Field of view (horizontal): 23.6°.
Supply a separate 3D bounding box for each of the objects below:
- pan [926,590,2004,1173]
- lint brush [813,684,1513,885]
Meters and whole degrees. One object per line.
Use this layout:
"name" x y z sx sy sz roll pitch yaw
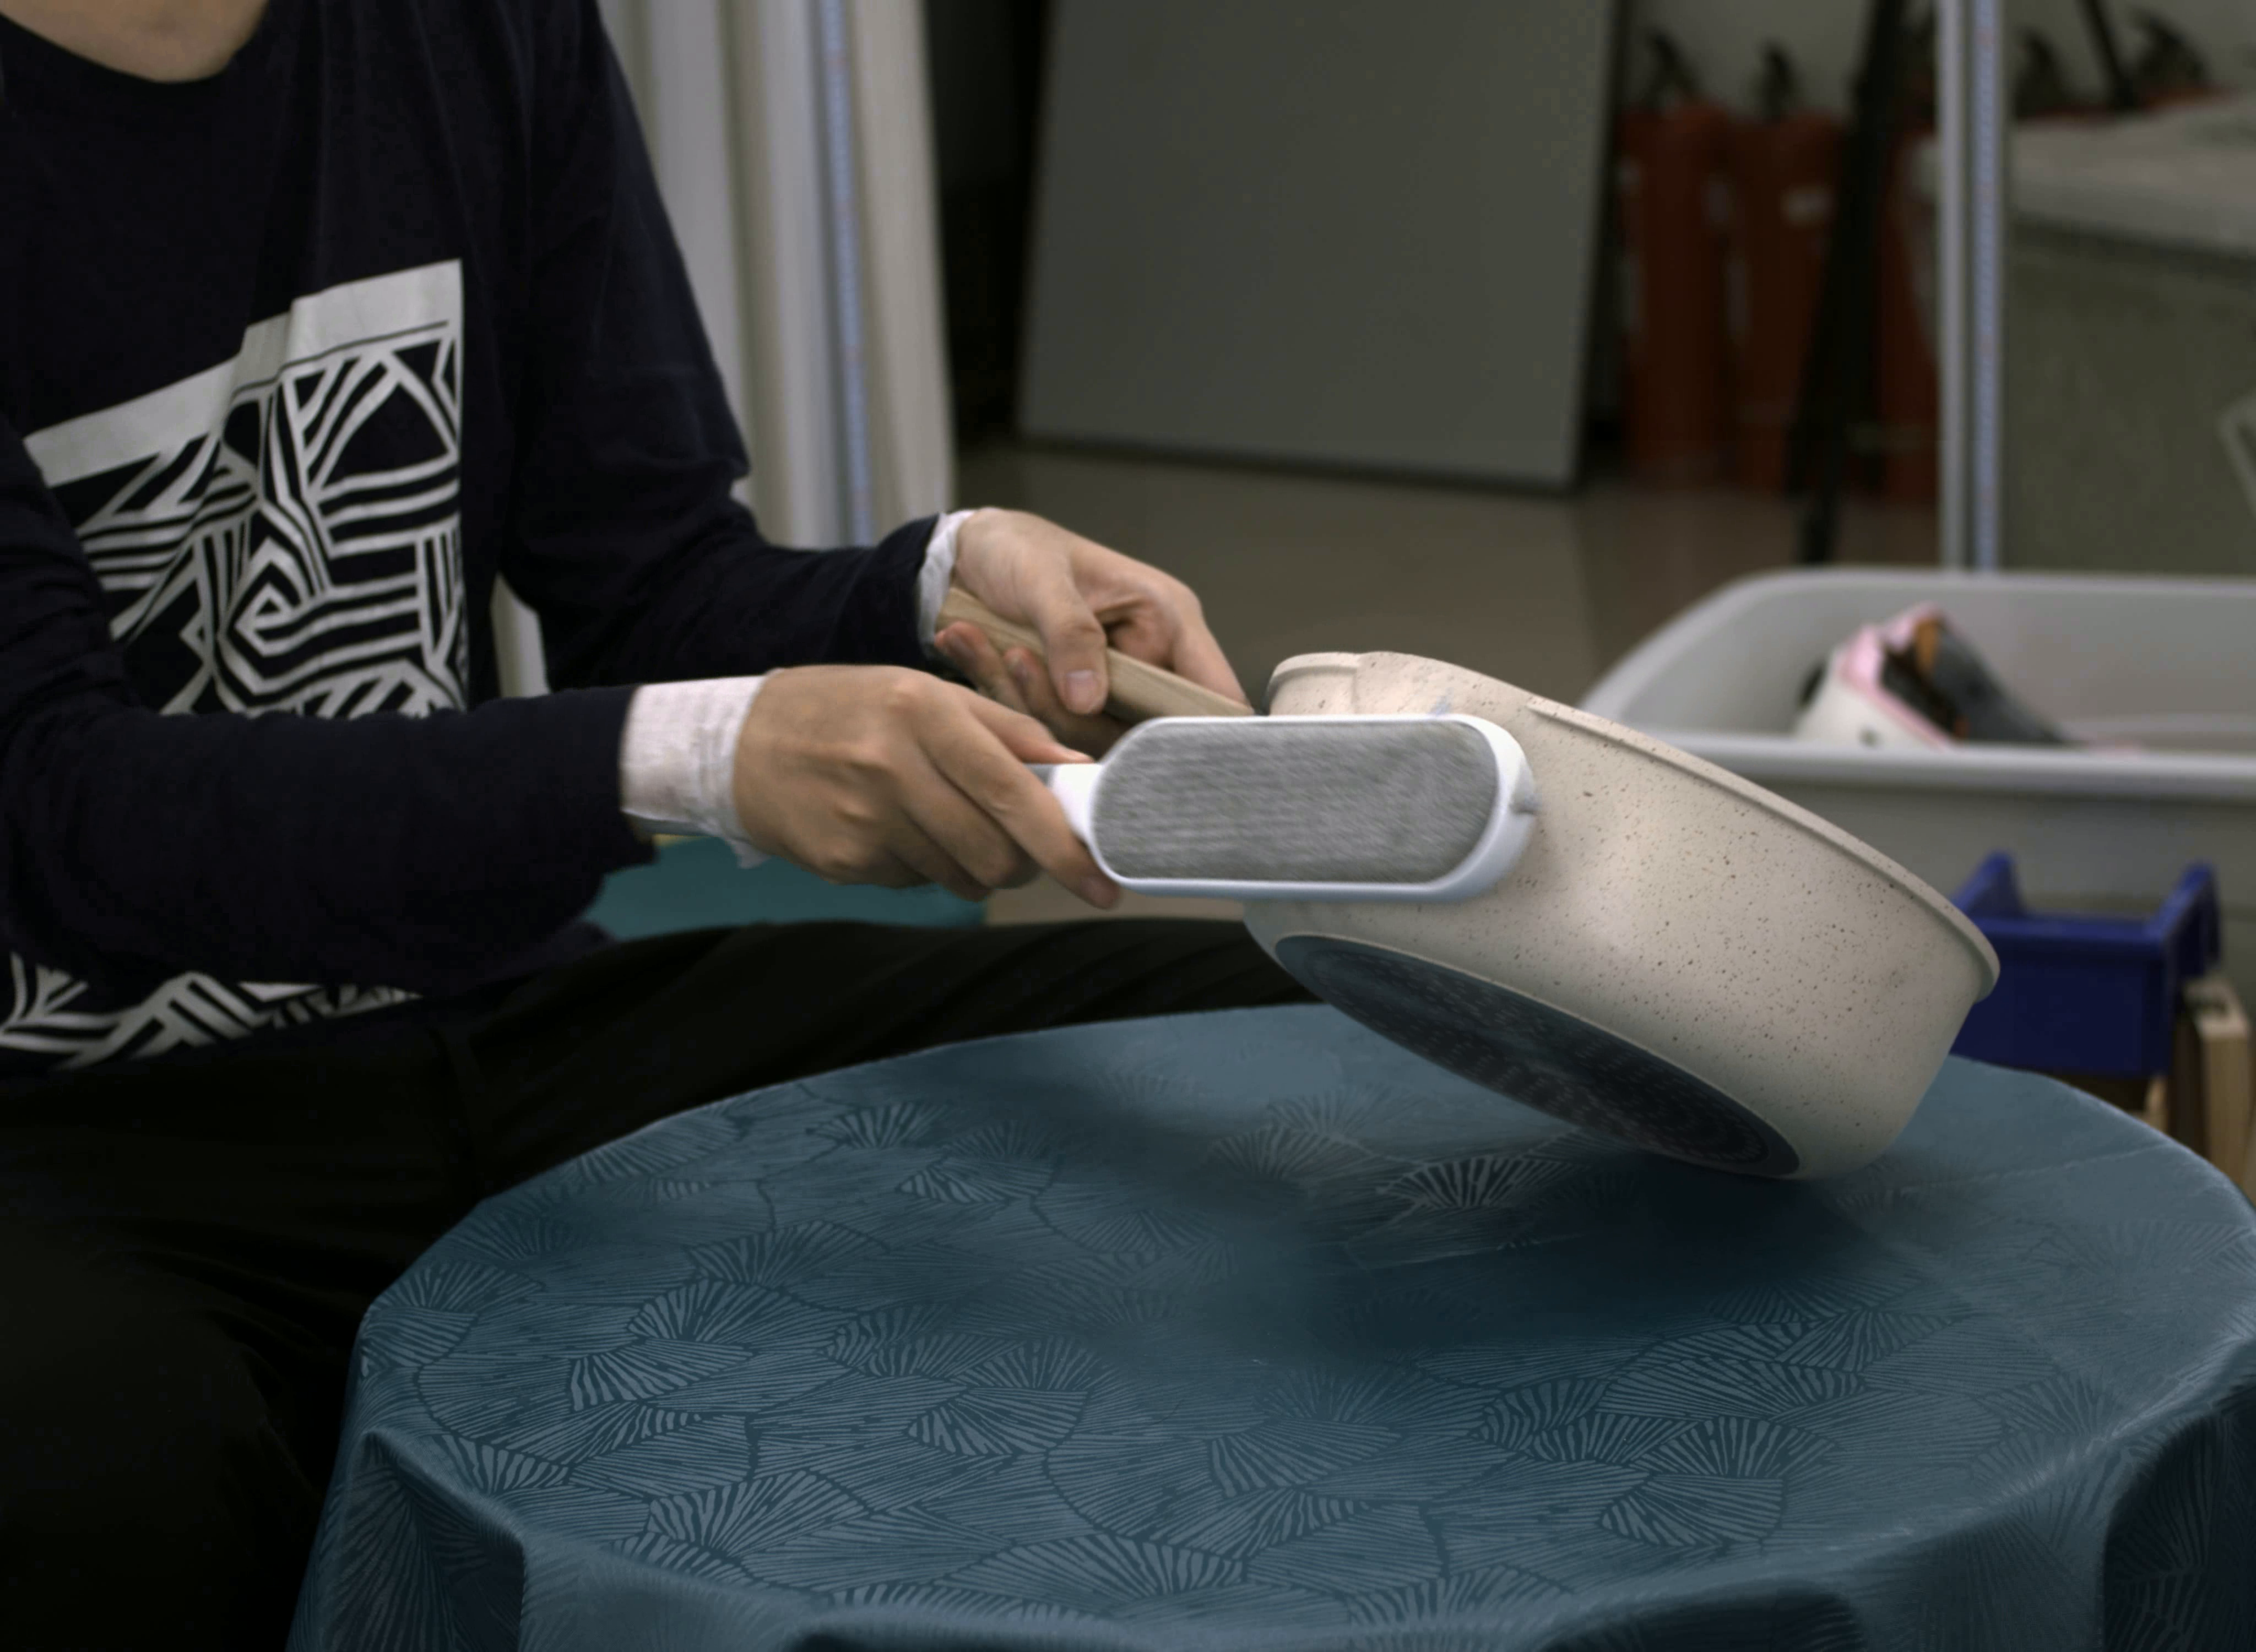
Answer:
"pan" 0.081 0.011 1.767 0.439 0.103 0.259 16 -11 41
"lint brush" 0.004 -0.012 1.676 0.020 0.061 0.312 17 -11 -41
